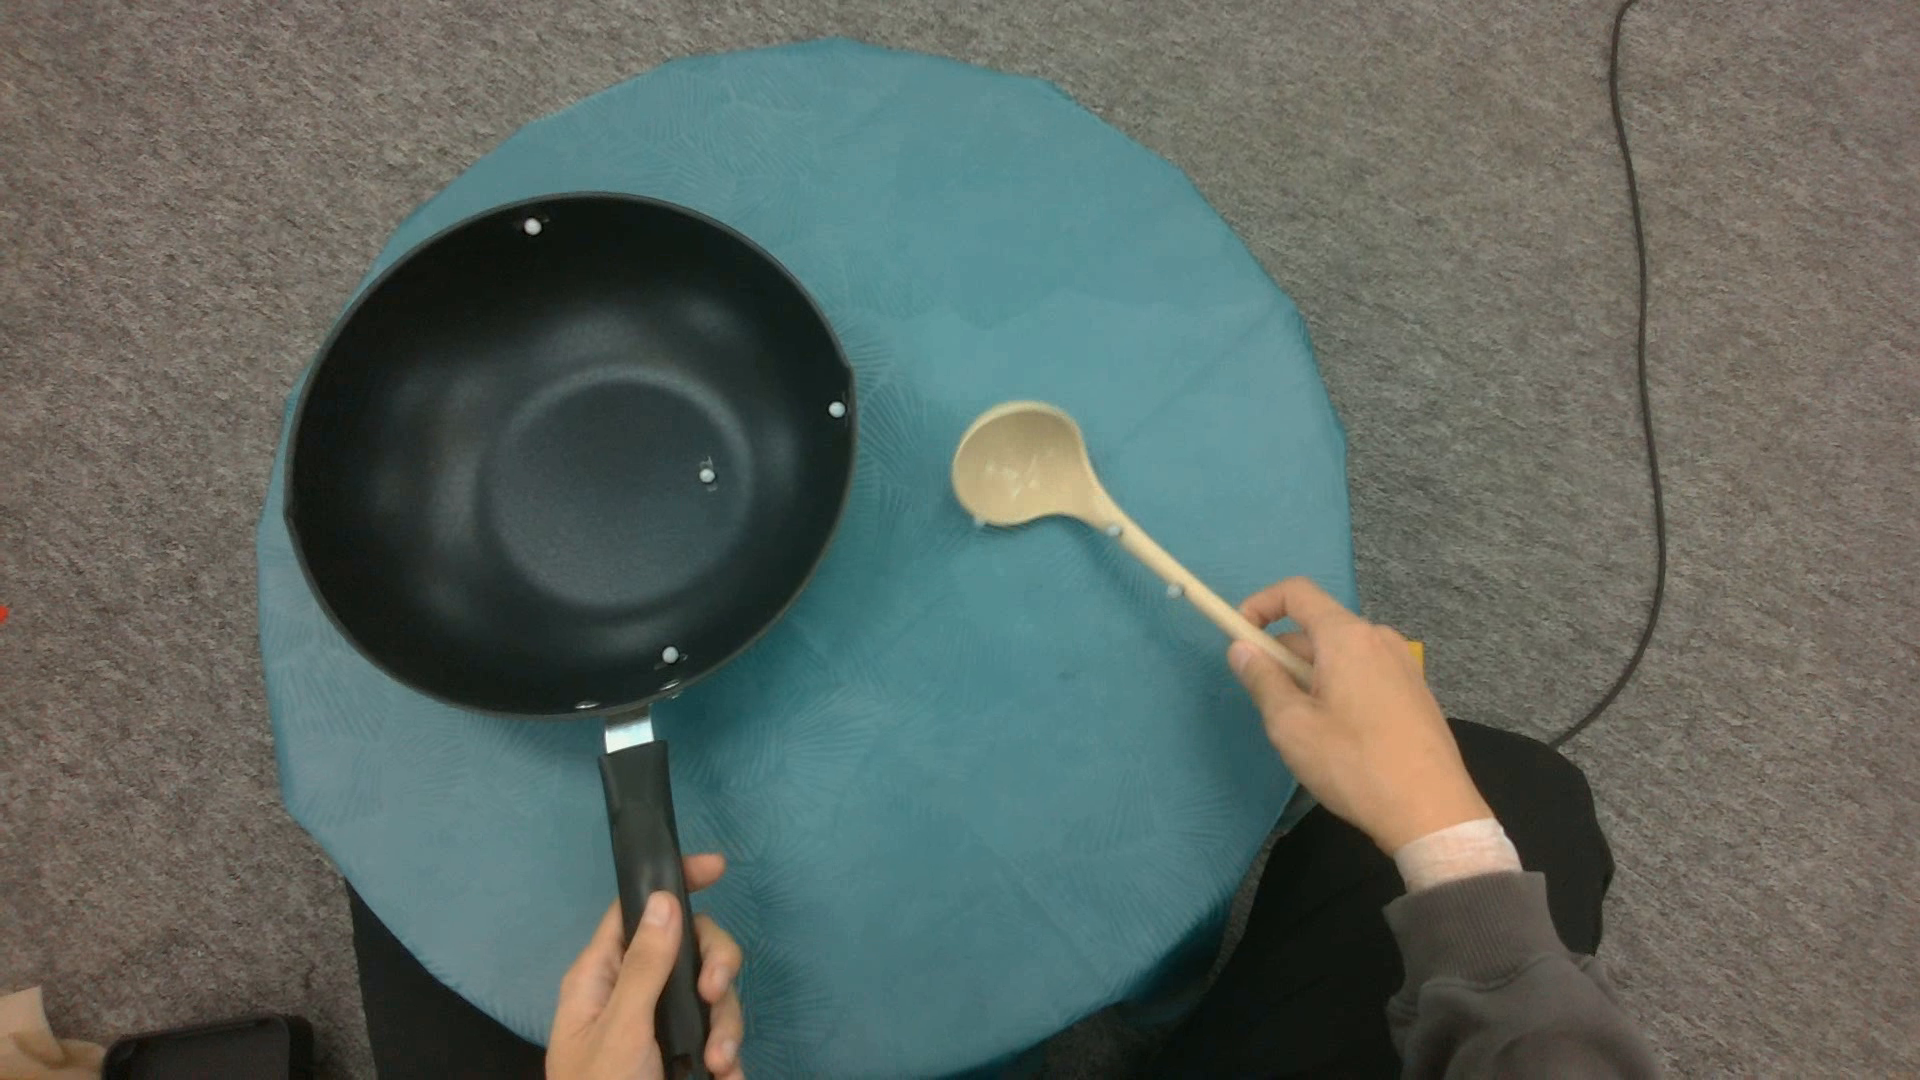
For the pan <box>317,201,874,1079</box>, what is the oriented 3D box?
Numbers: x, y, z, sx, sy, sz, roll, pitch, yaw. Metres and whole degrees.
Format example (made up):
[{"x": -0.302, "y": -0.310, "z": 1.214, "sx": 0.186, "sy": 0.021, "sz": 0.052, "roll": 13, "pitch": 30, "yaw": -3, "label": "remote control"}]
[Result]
[{"x": -0.164, "y": 0.049, "z": 0.712, "sx": 0.288, "sy": 0.086, "sz": 0.464, "roll": -13, "pitch": 75, "yaw": -2, "label": "pan"}]

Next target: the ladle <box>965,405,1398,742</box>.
[{"x": 0.103, "y": 0.019, "z": 0.688, "sx": 0.254, "sy": 0.073, "sz": 0.072, "roll": 40, "pitch": 106, "yaw": 28, "label": "ladle"}]
